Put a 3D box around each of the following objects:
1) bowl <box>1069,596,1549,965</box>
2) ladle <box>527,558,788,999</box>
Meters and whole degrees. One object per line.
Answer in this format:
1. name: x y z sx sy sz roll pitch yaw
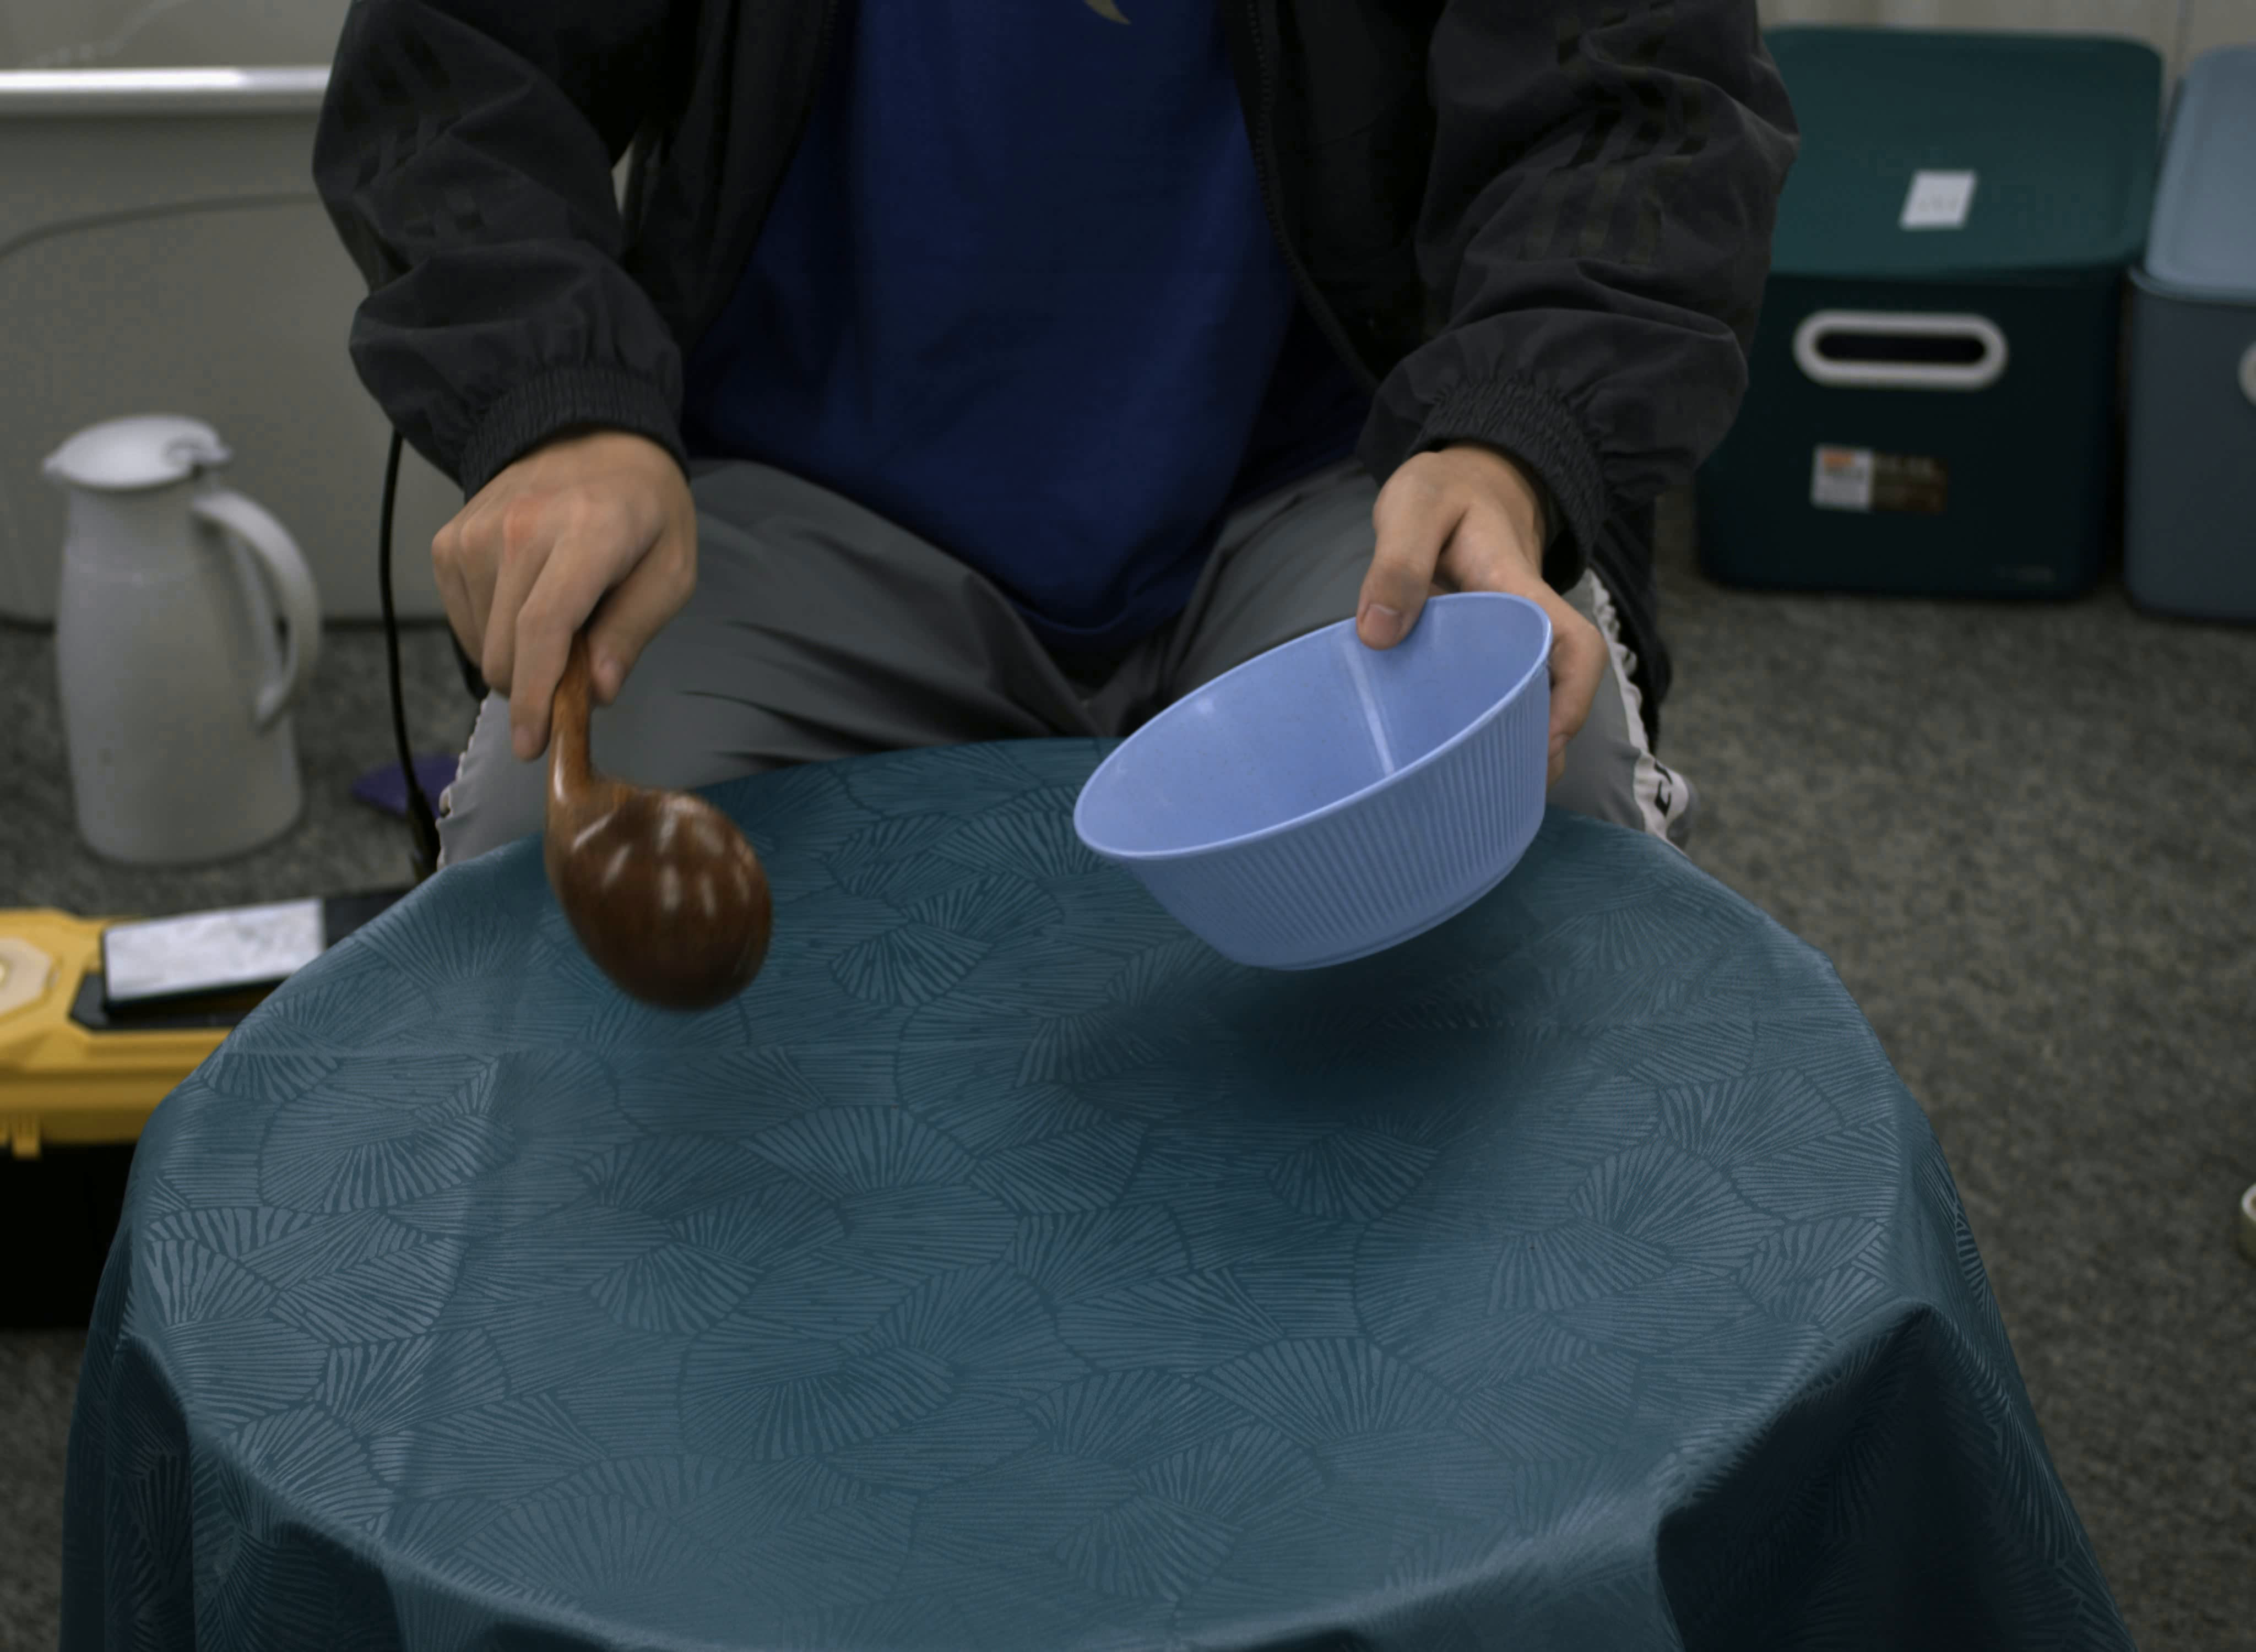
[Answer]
1. bowl: 0.073 -0.009 1.909 0.175 0.070 0.178 -22 17 8
2. ladle: -0.166 -0.029 1.965 0.076 0.081 0.277 10 24 -13
